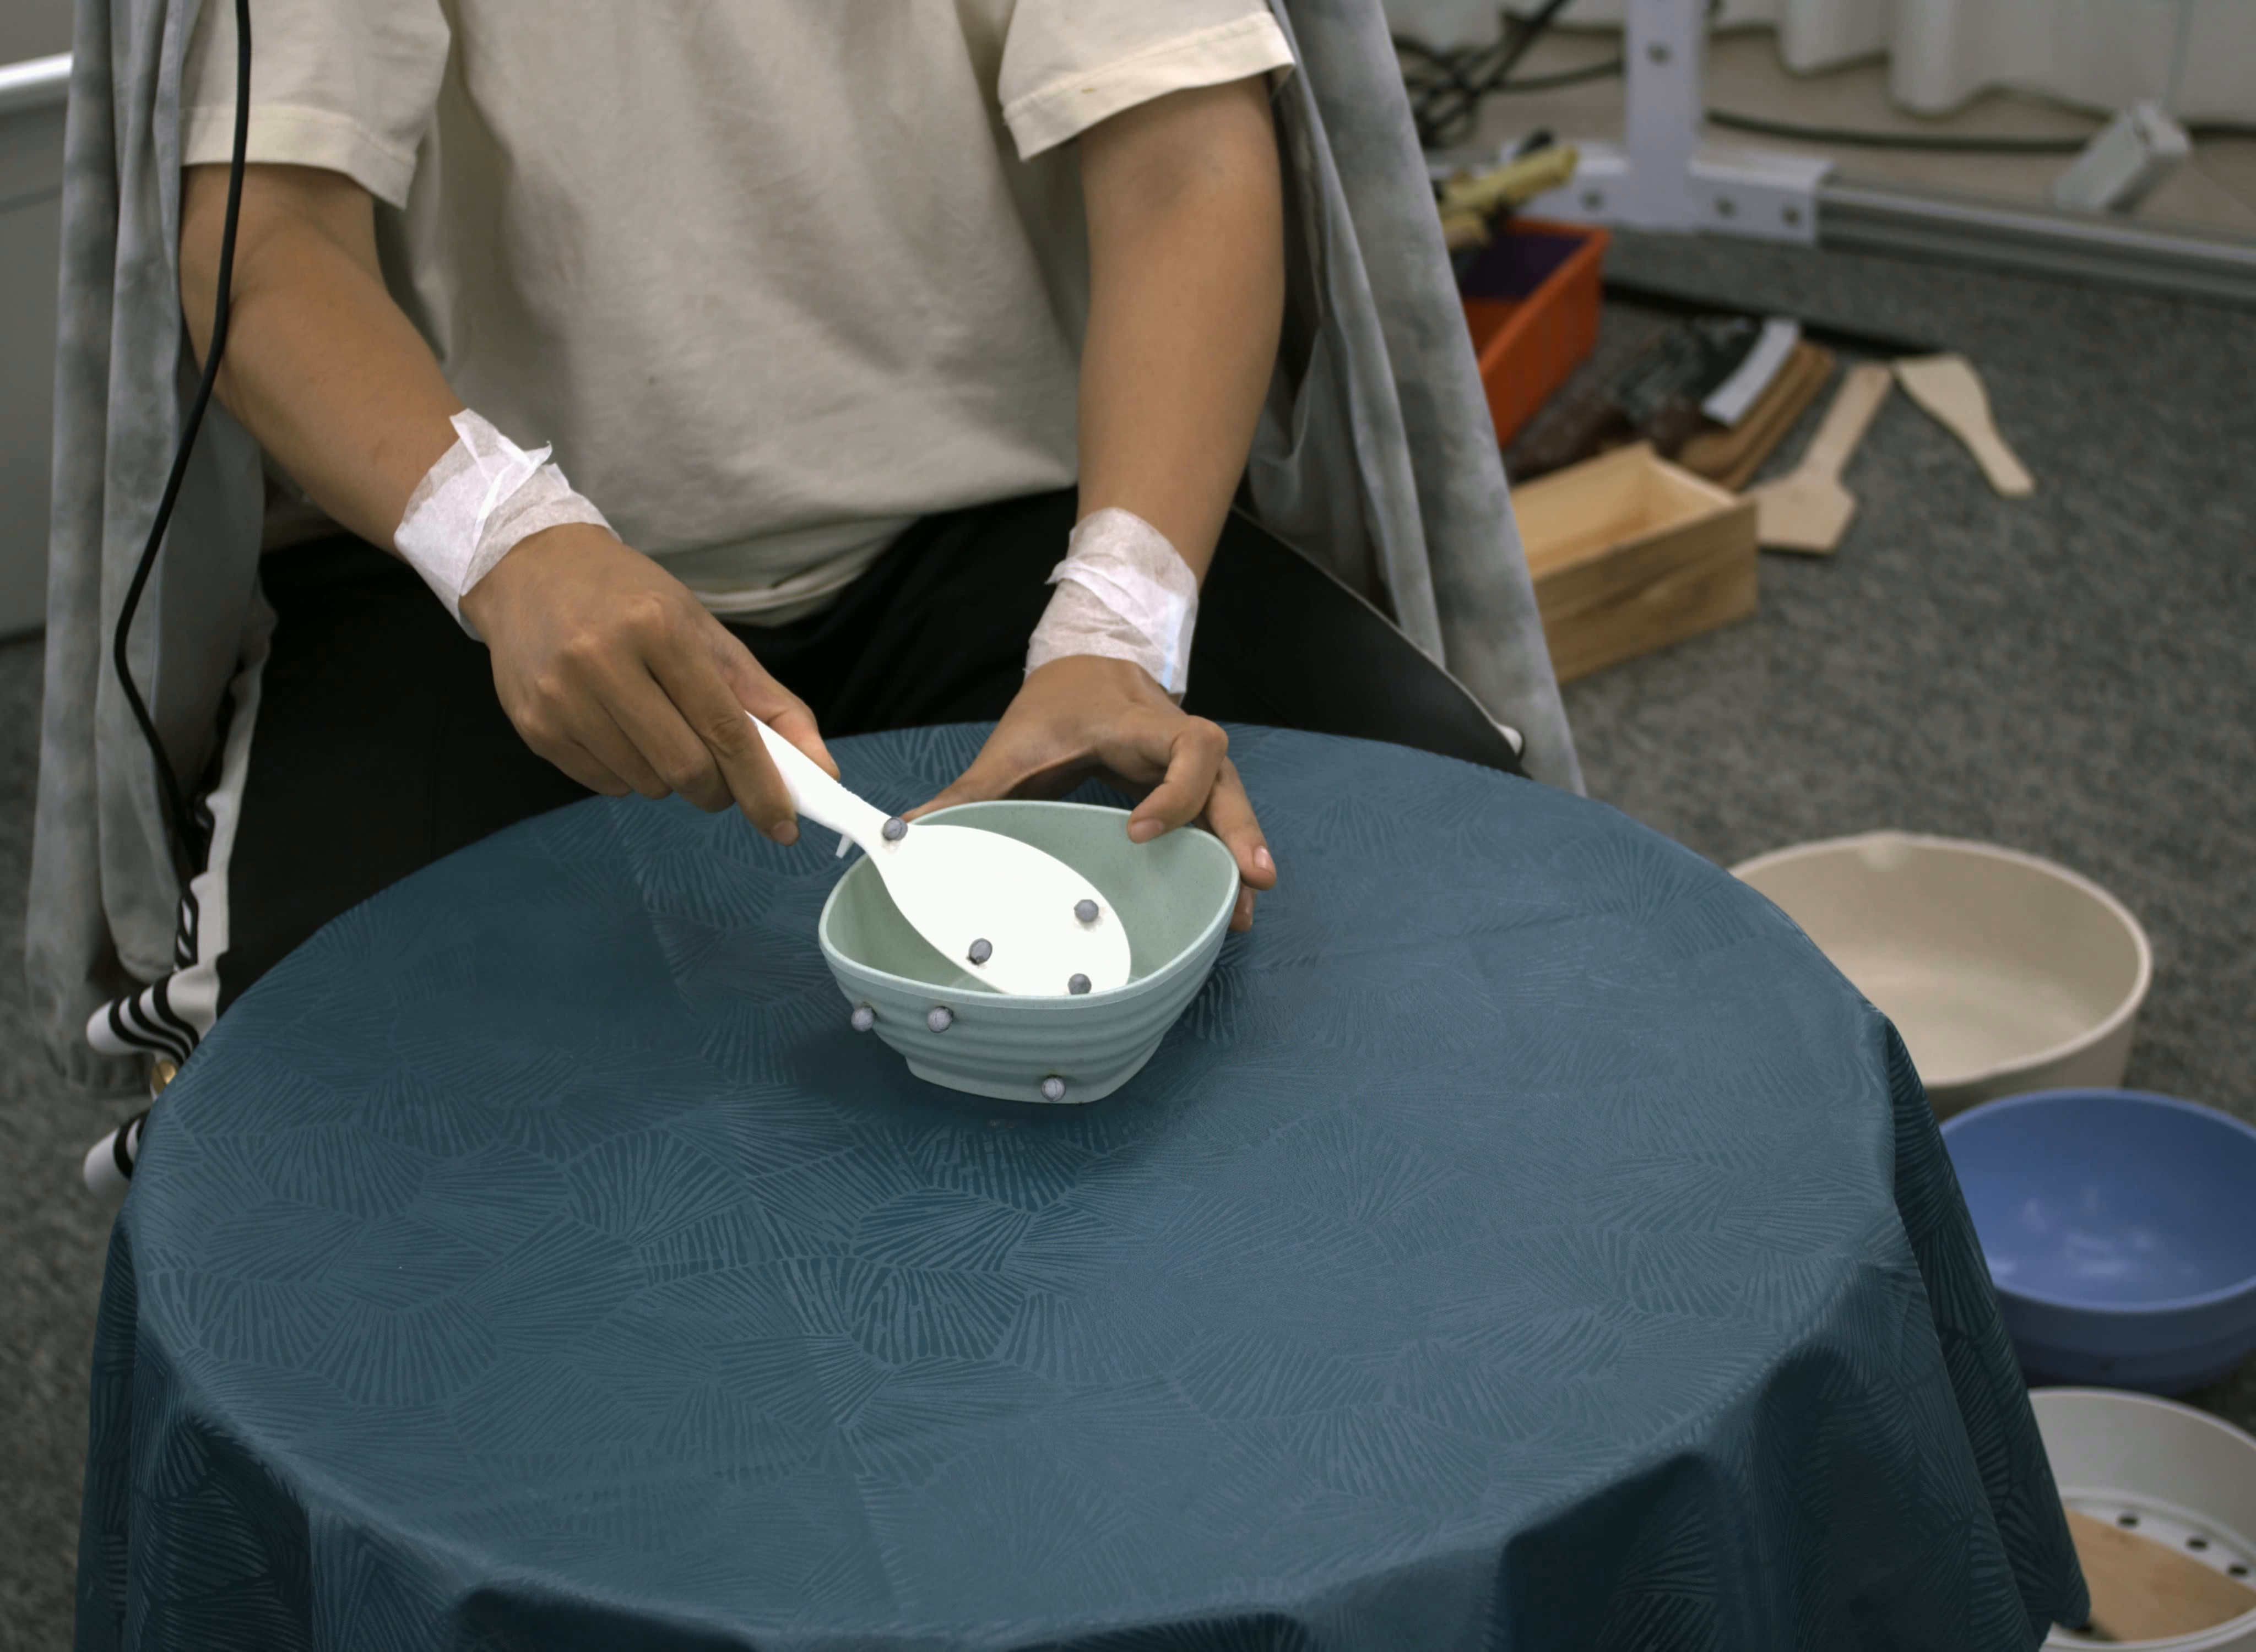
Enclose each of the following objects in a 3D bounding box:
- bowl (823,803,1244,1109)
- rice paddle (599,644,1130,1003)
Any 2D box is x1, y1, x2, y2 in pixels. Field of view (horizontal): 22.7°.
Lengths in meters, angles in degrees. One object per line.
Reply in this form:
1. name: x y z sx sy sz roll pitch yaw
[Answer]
1. bowl: -0.030 0.051 1.942 0.150 0.058 0.154 -4 28 2
2. rice paddle: -0.088 0.001 1.946 0.205 0.029 0.070 31 44 3
